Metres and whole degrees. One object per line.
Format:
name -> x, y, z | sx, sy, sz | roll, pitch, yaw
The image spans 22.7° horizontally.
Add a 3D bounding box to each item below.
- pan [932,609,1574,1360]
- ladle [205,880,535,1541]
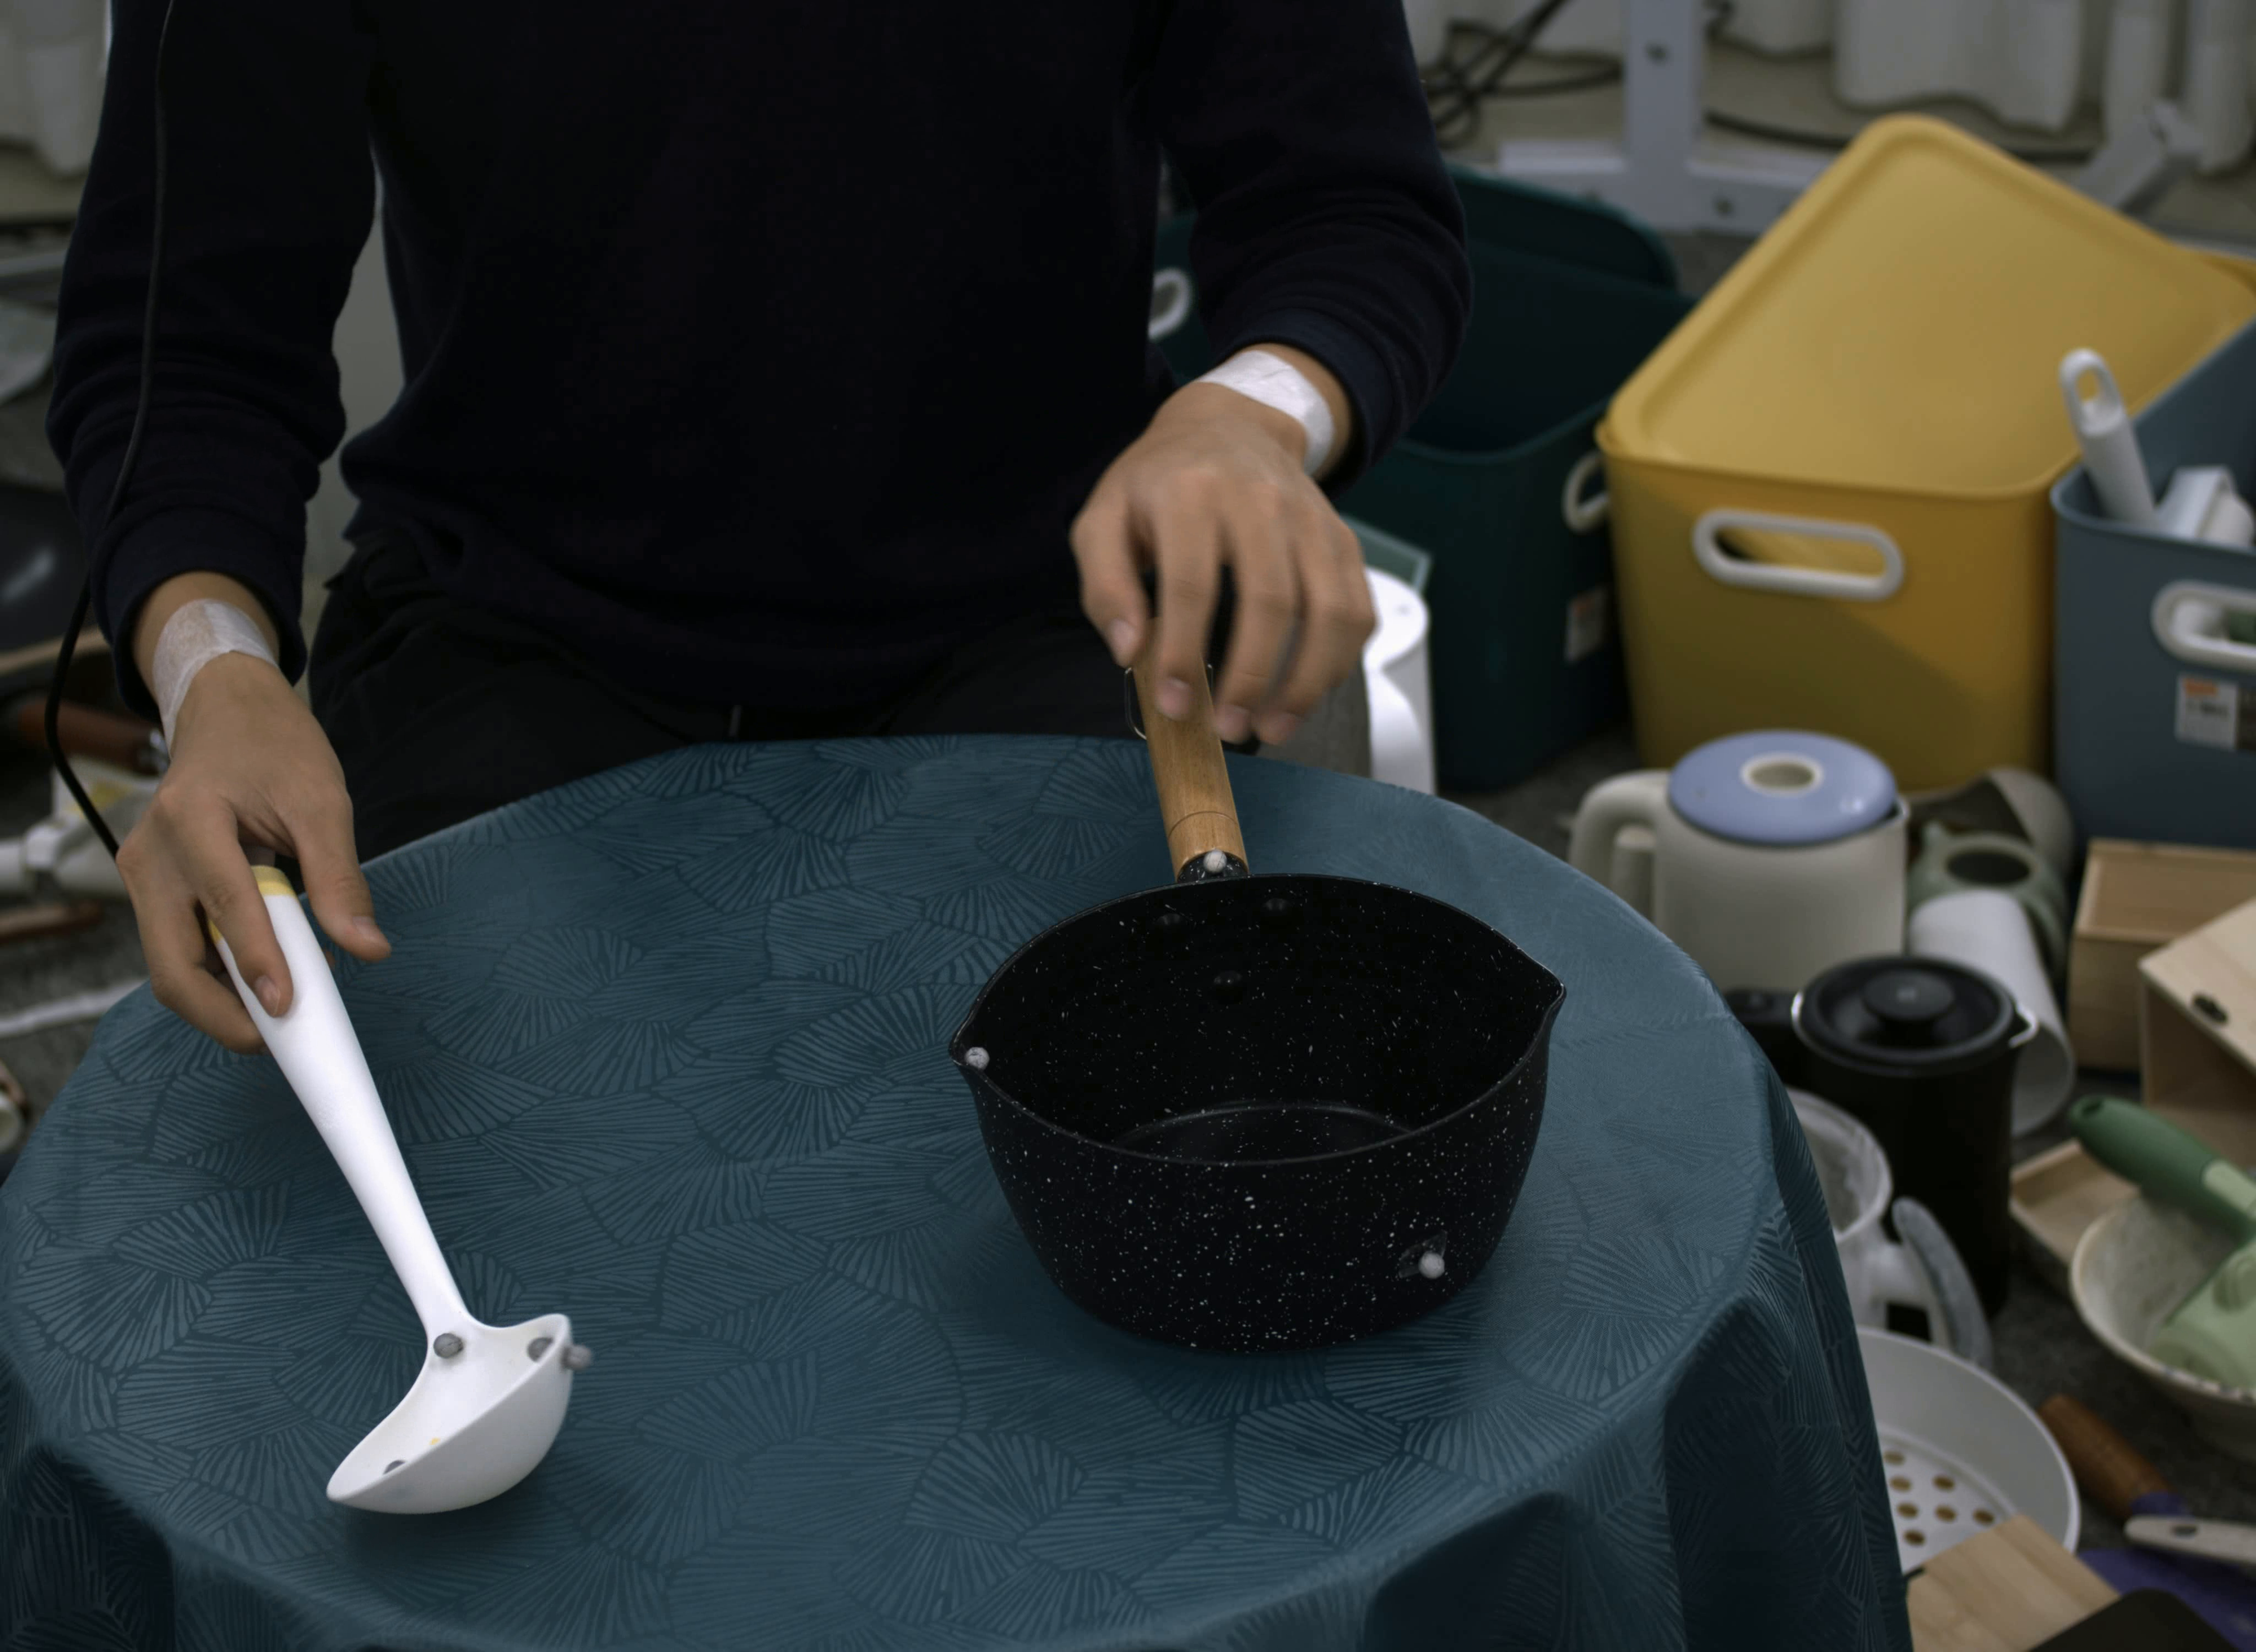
pan -> 0.032, 0.049, 1.882 | 0.207, 0.107, 0.347 | -7, 29, -5
ladle -> -0.254, 0.114, 1.786 | 0.089, 0.069, 0.297 | -41, 45, 11
